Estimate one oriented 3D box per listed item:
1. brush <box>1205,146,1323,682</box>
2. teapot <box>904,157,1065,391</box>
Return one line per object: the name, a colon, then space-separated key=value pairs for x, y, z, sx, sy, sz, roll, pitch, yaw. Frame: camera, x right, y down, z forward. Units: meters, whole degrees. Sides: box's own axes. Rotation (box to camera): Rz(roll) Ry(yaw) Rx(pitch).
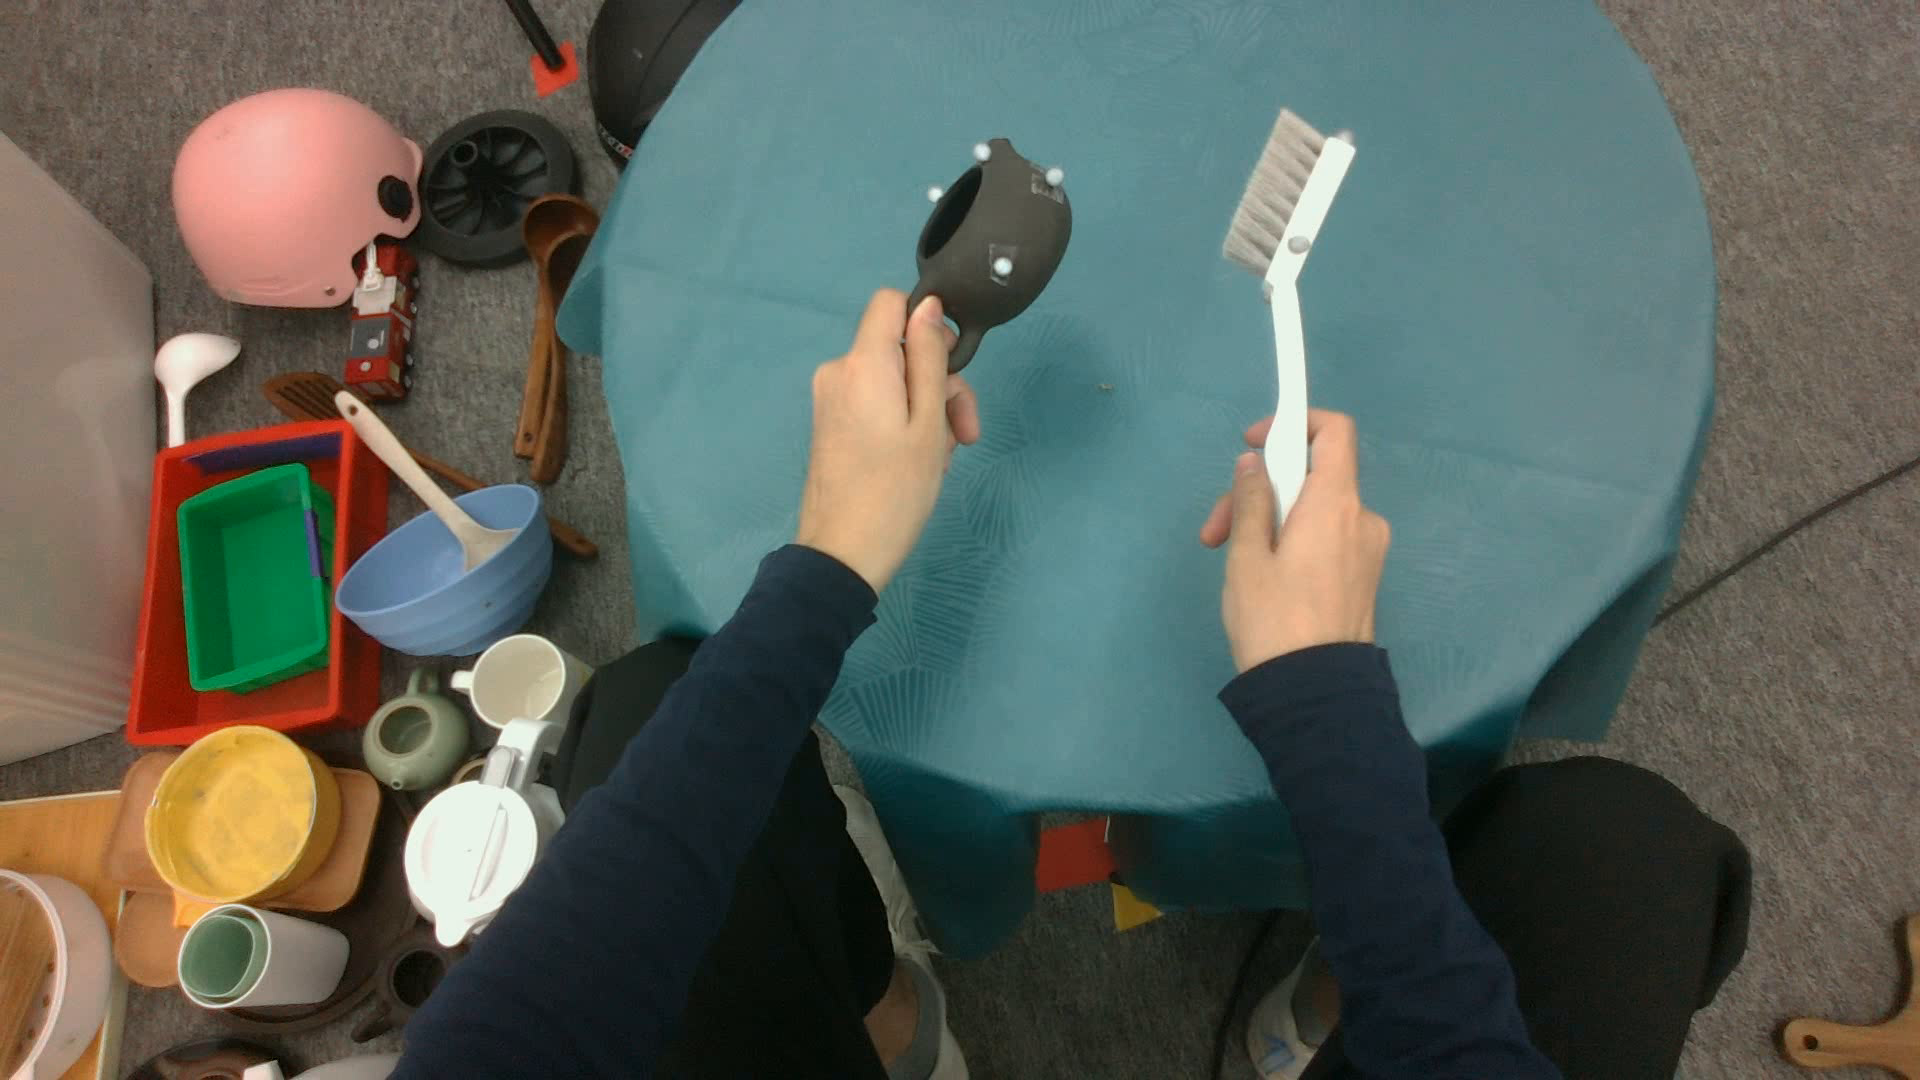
brush: x=0.132 y=-0.059 z=0.632 sx=0.050 sy=0.034 sz=0.244 roll=5 pitch=87 yaw=11
teapot: x=0.008 y=-0.125 z=0.662 sx=0.053 sy=0.083 sz=0.114 roll=31 pitch=80 yaw=-24
